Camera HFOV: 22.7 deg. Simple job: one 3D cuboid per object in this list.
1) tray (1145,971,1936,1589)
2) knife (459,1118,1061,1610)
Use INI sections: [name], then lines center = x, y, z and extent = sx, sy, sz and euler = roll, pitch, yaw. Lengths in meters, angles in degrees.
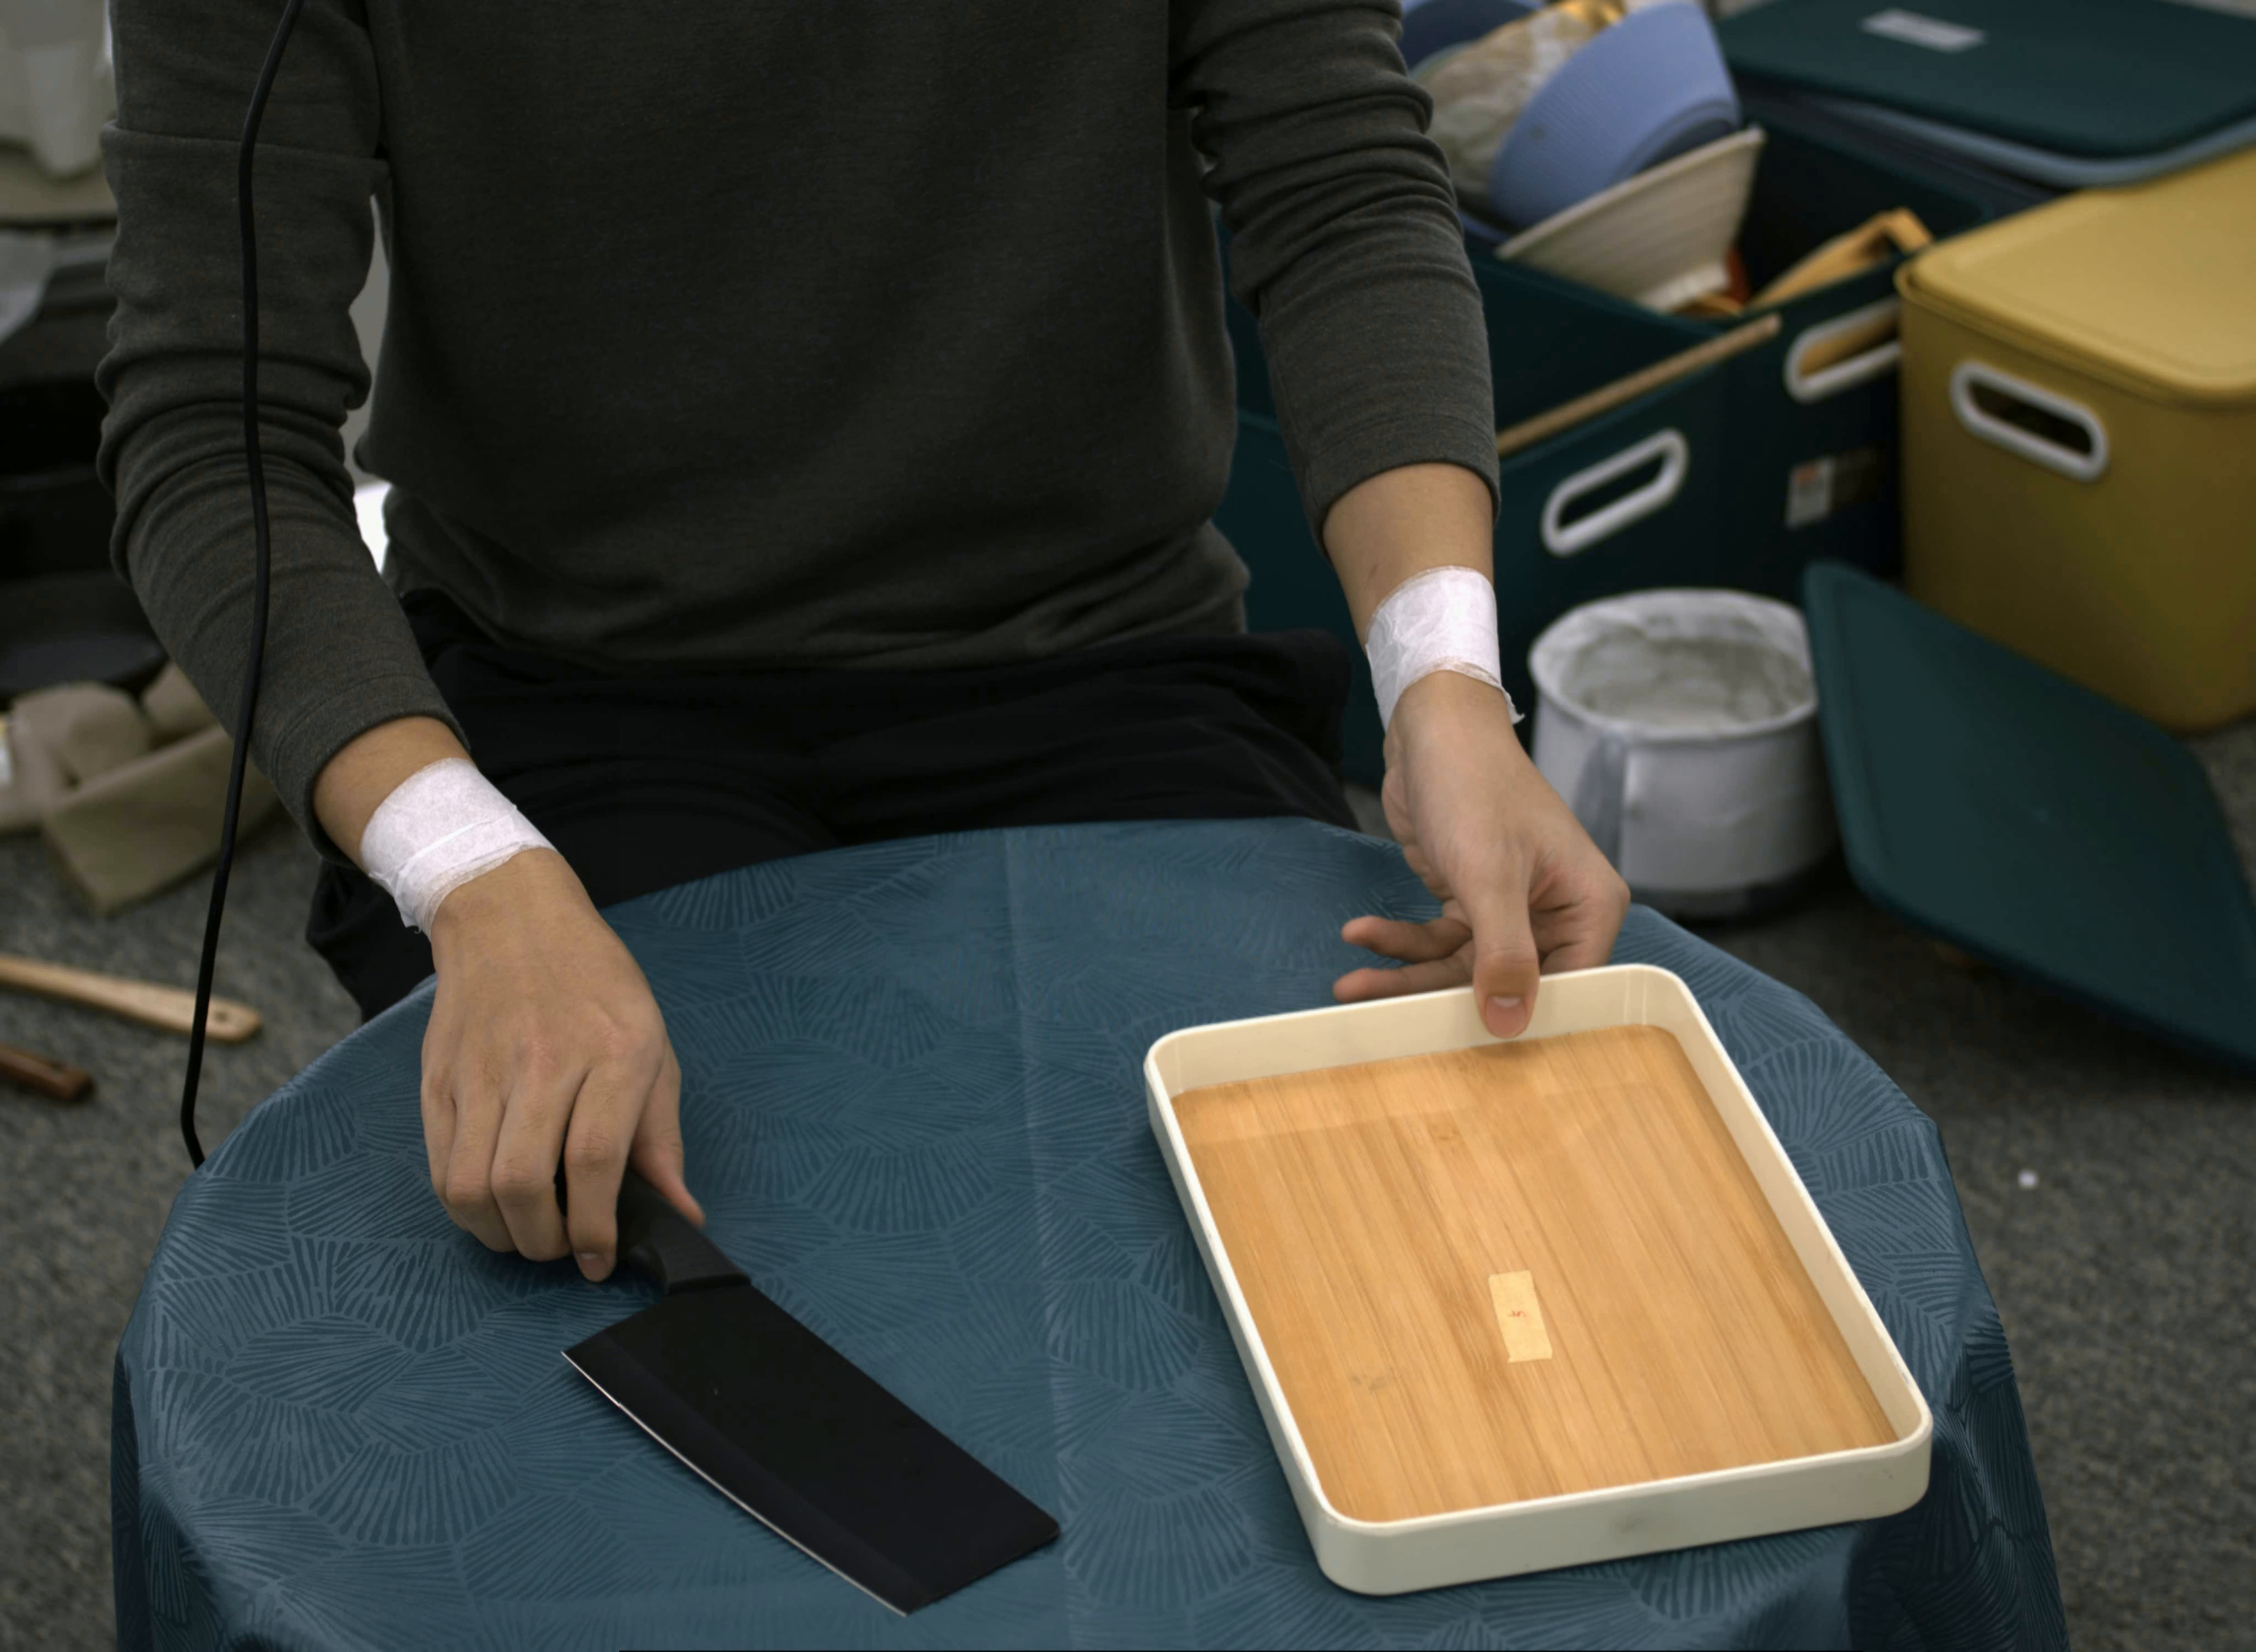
[tray]
center = 0.123, 0.138, 1.787
extent = 0.191, 0.027, 0.304
euler = -7, 28, -9
[knife]
center = -0.131, 0.166, 1.772
extent = 0.081, 0.020, 0.303
euler = -21, 34, -26
